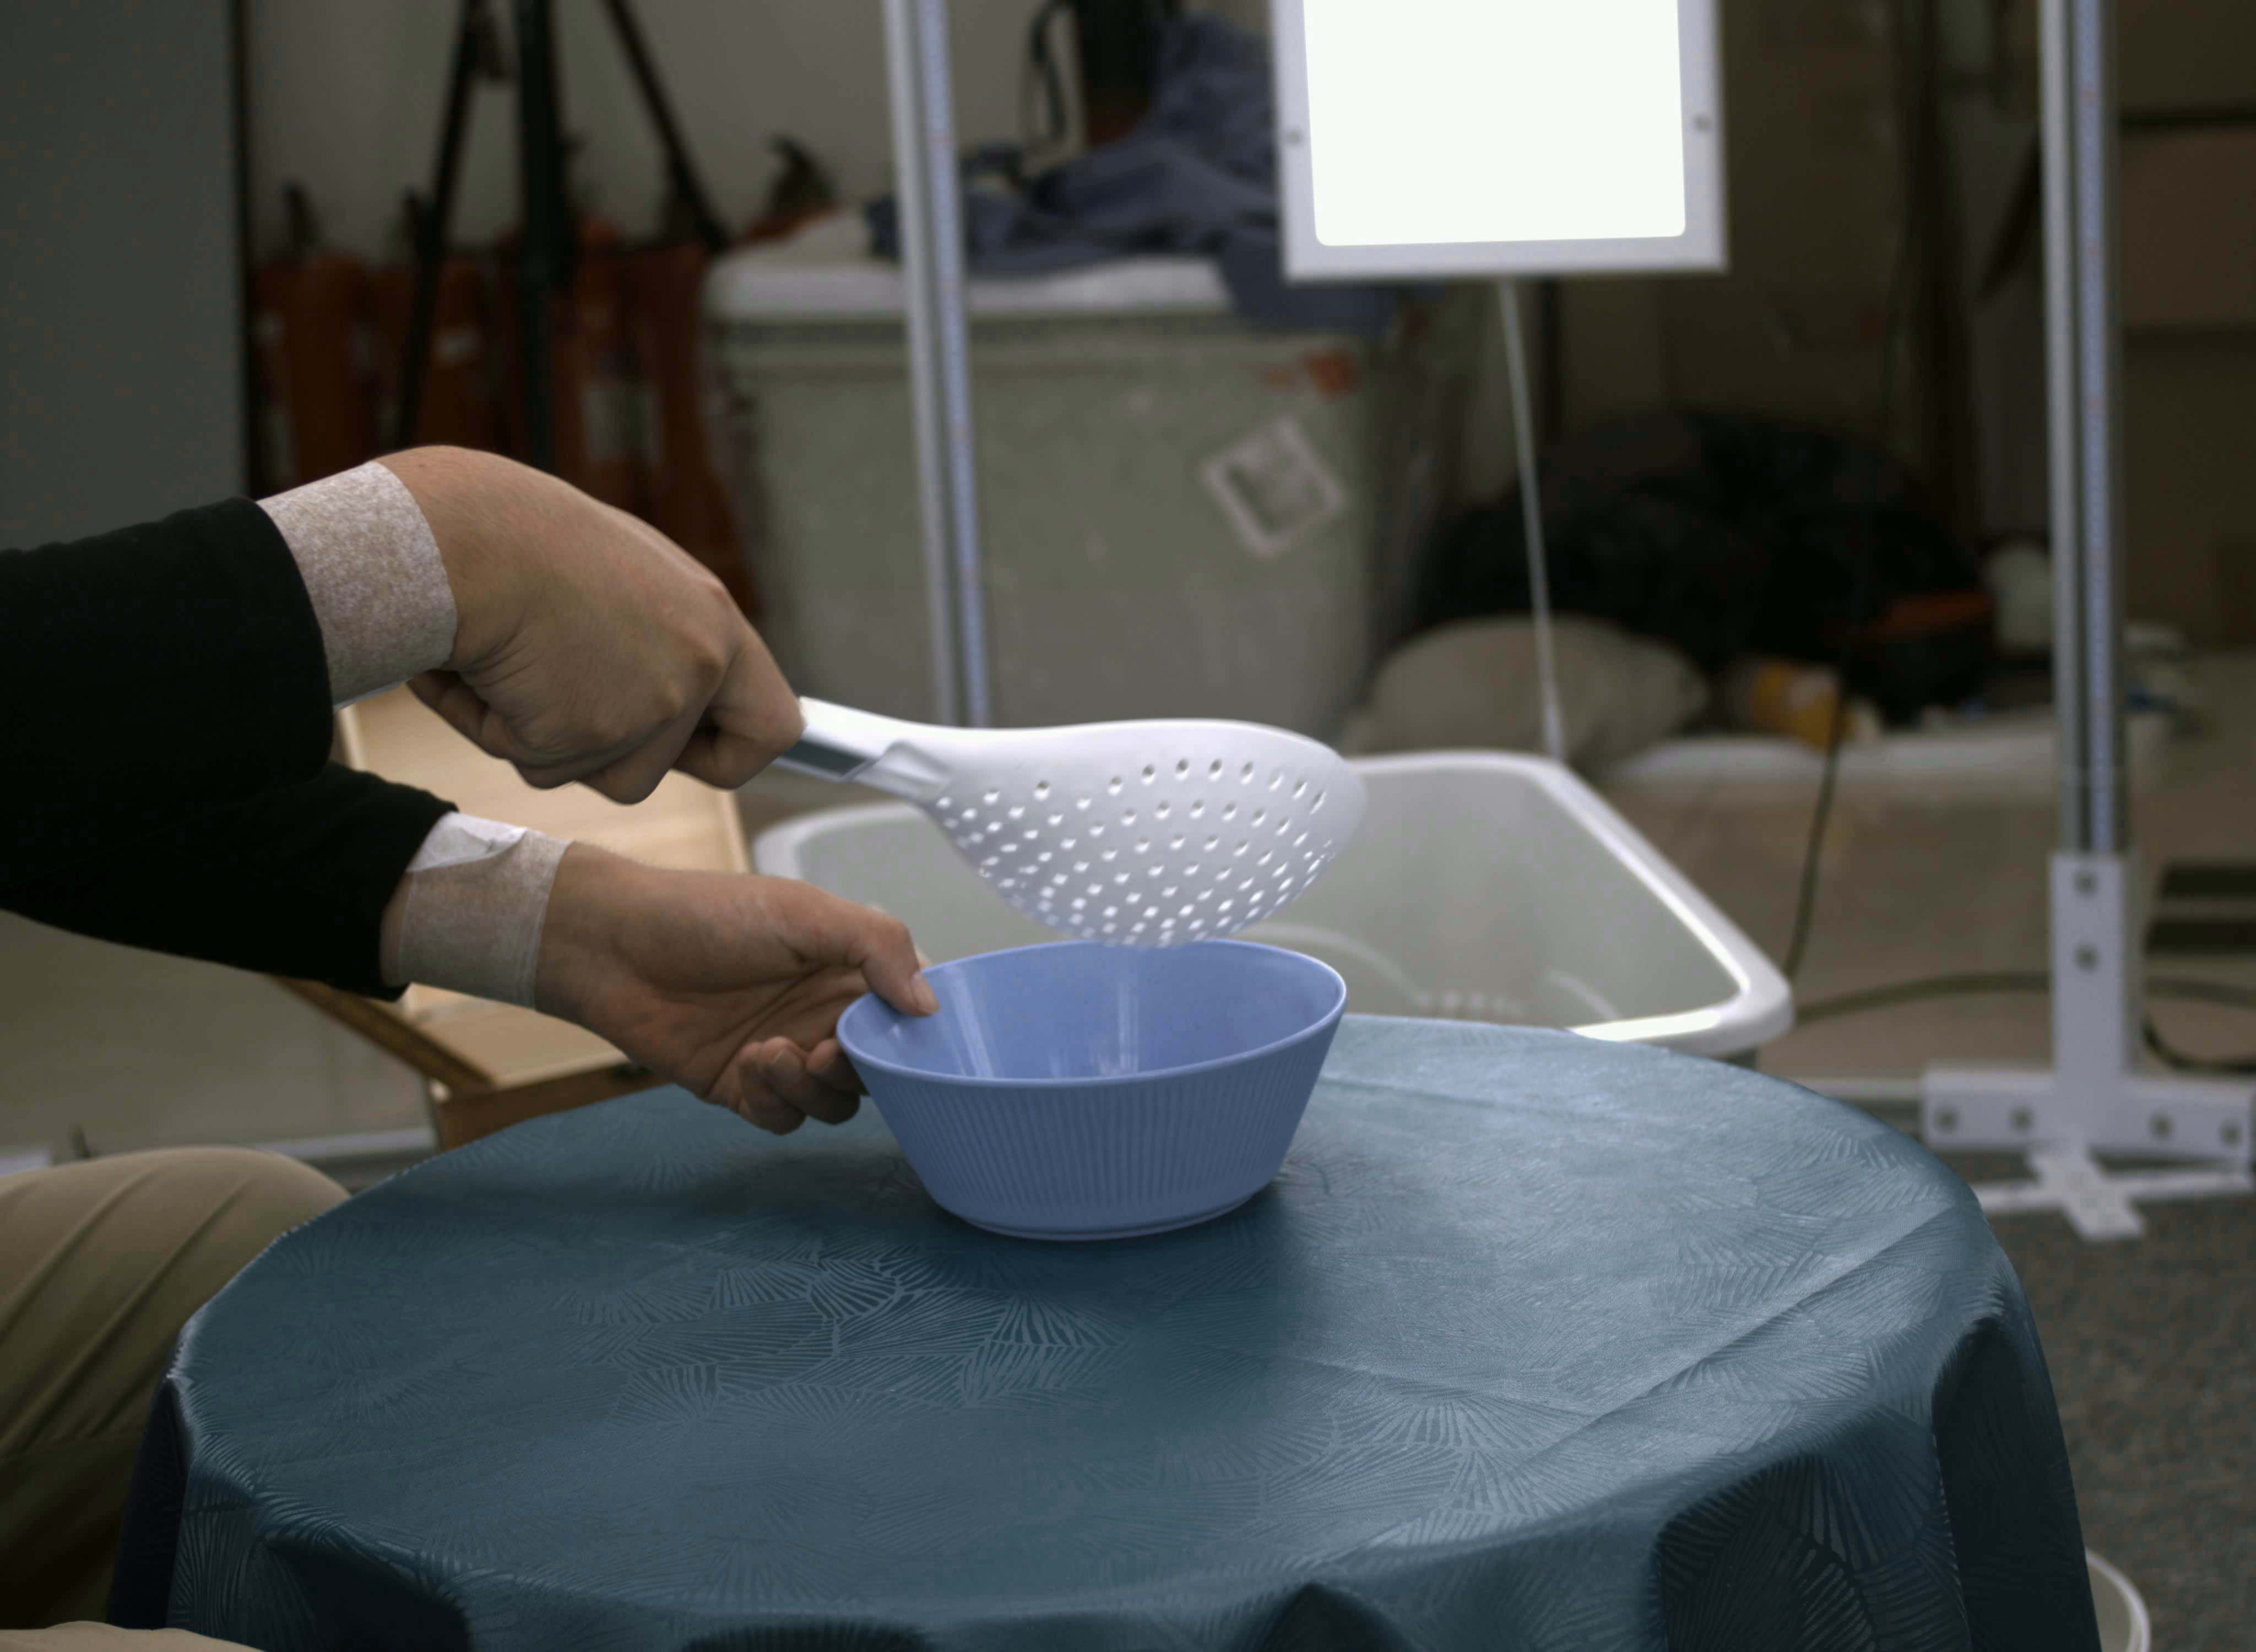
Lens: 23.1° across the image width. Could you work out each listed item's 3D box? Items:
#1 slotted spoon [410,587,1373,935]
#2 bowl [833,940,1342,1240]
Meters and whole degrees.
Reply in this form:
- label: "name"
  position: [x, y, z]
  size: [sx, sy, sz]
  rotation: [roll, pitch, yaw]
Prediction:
- label: "slotted spoon"
  position: [-0.072, -0.024, 1.745]
  size: [0.342, 0.045, 0.139]
  rotation: [20, -34, -31]
- label: "bowl"
  position: [-0.011, 0.093, 1.892]
  size: [0.175, 0.070, 0.176]
  rotation: [-6, 14, 0]
